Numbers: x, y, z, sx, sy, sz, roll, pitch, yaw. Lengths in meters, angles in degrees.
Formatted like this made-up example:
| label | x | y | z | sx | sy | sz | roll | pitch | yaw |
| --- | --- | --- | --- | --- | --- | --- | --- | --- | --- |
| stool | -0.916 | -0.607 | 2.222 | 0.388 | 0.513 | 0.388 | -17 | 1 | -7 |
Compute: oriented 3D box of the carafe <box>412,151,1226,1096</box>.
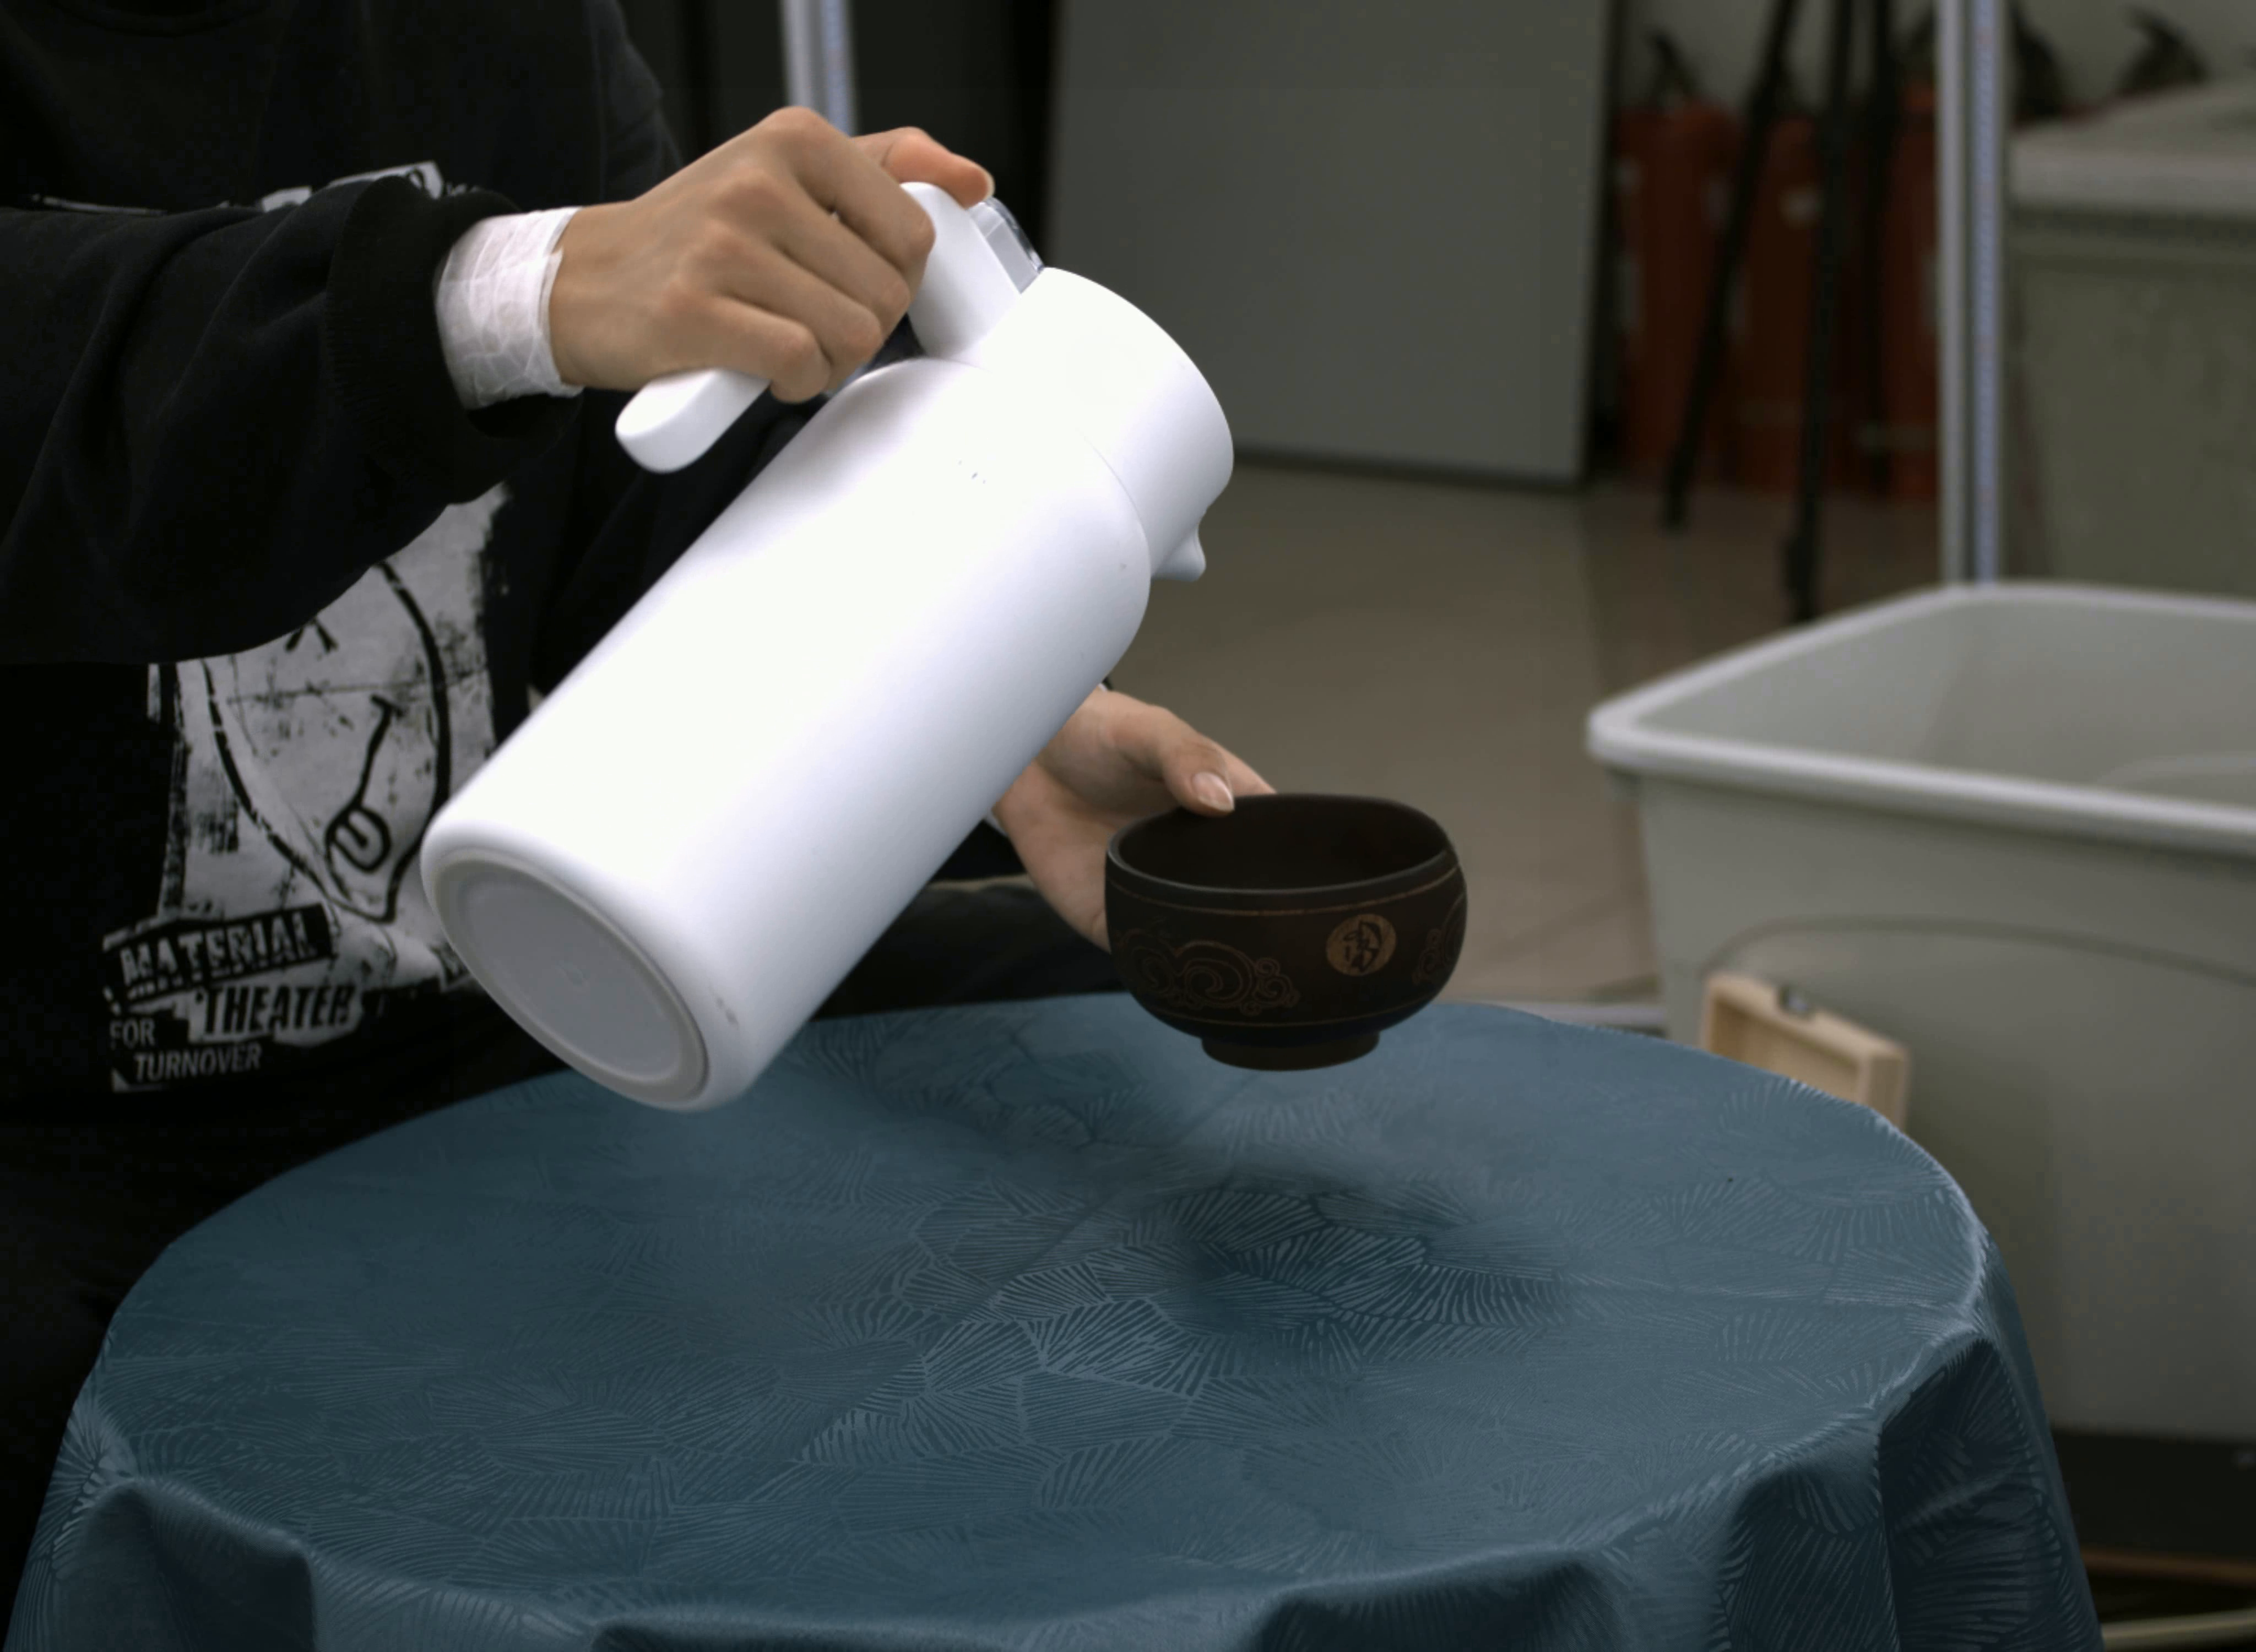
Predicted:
| label | x | y | z | sx | sy | sz | roll | pitch | yaw |
| --- | --- | --- | --- | --- | --- | --- | --- | --- | --- |
| carafe | -0.091 | -0.064 | 1.566 | 0.125 | 0.172 | 0.267 | 4 | 44 | 50 |

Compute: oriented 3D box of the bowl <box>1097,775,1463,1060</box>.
| label | x | y | z | sx | sy | sz | roll | pitch | yaw |
| --- | --- | --- | --- | --- | --- | --- | --- | --- | --- |
| bowl | 0.049 | 0.032 | 1.712 | 0.116 | 0.070 | 0.118 | -4 | 15 | 0 |
